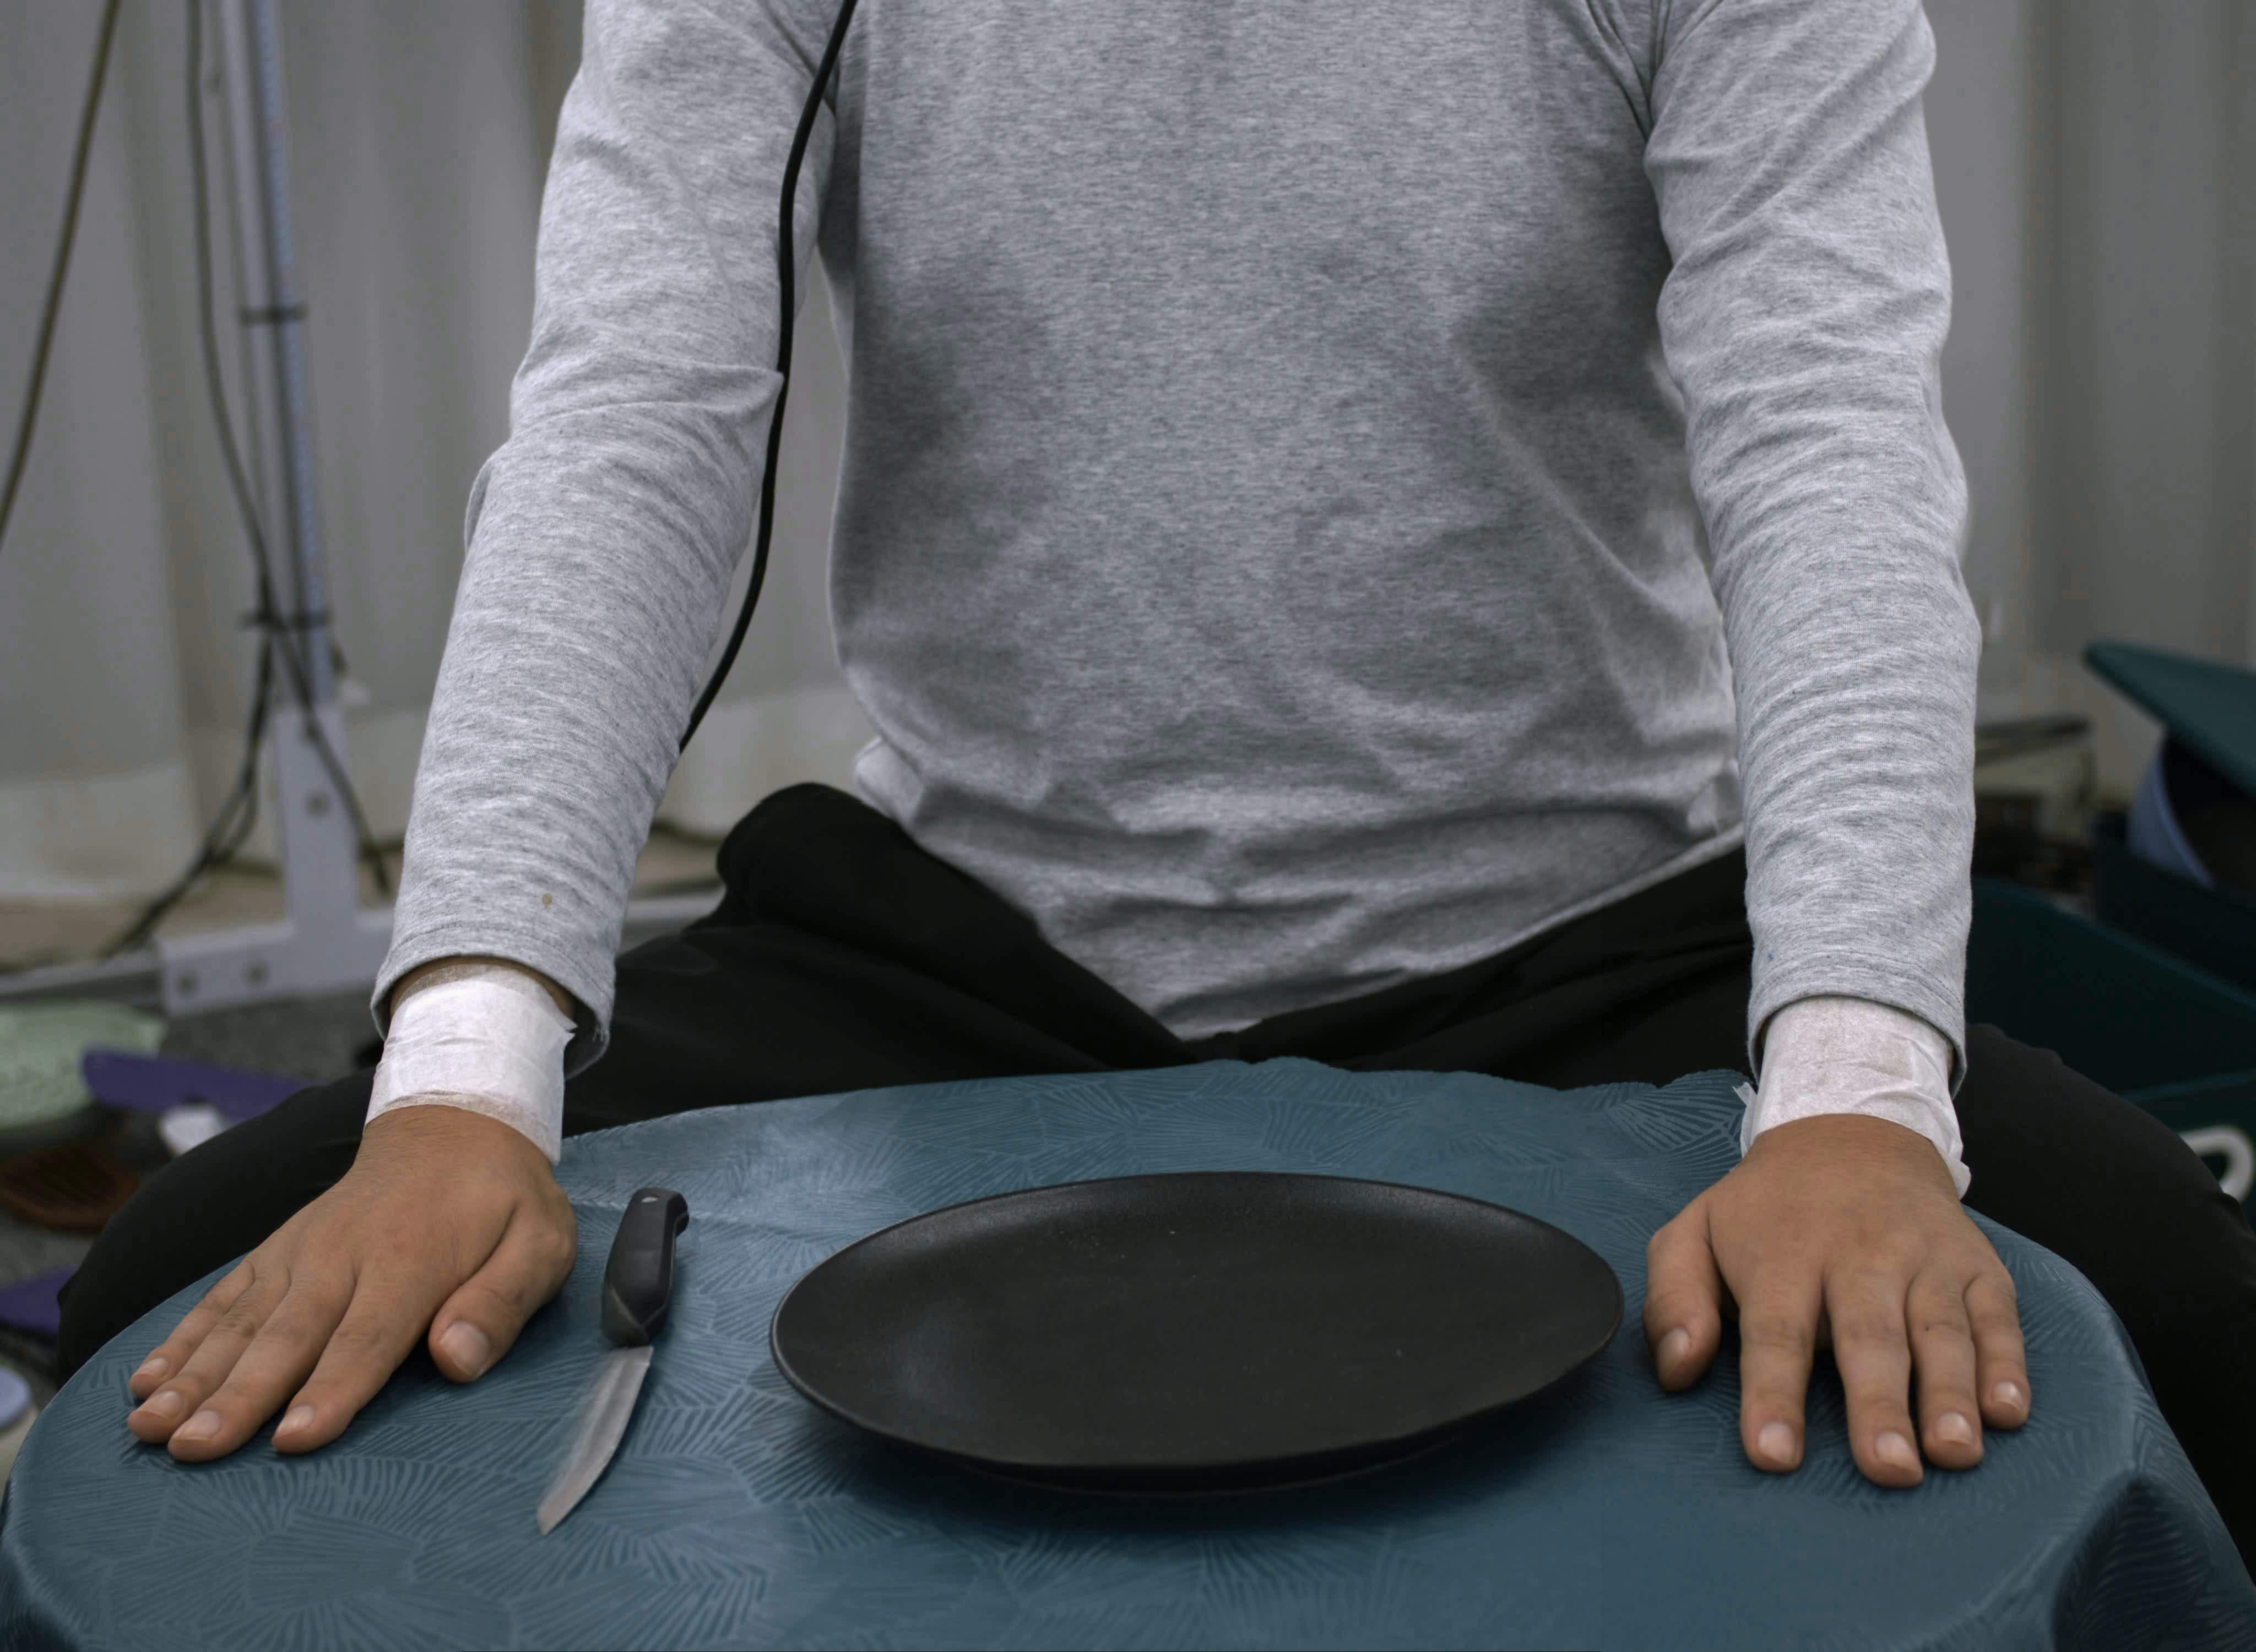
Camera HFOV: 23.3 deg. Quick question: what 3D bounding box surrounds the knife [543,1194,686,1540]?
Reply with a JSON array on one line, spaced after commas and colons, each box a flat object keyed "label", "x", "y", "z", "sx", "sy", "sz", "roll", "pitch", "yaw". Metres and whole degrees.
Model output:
[{"label": "knife", "x": -0.150, "y": 0.155, "z": 1.574, "sx": 0.024, "sy": 0.016, "sz": 0.240, "roll": -2, "pitch": 17, "yaw": 3}]

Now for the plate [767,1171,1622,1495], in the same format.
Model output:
[{"label": "plate", "x": 0.019, "y": 0.146, "z": 1.551, "sx": 0.243, "sy": 0.023, "sz": 0.246, "roll": -3, "pitch": 15, "yaw": 0}]
